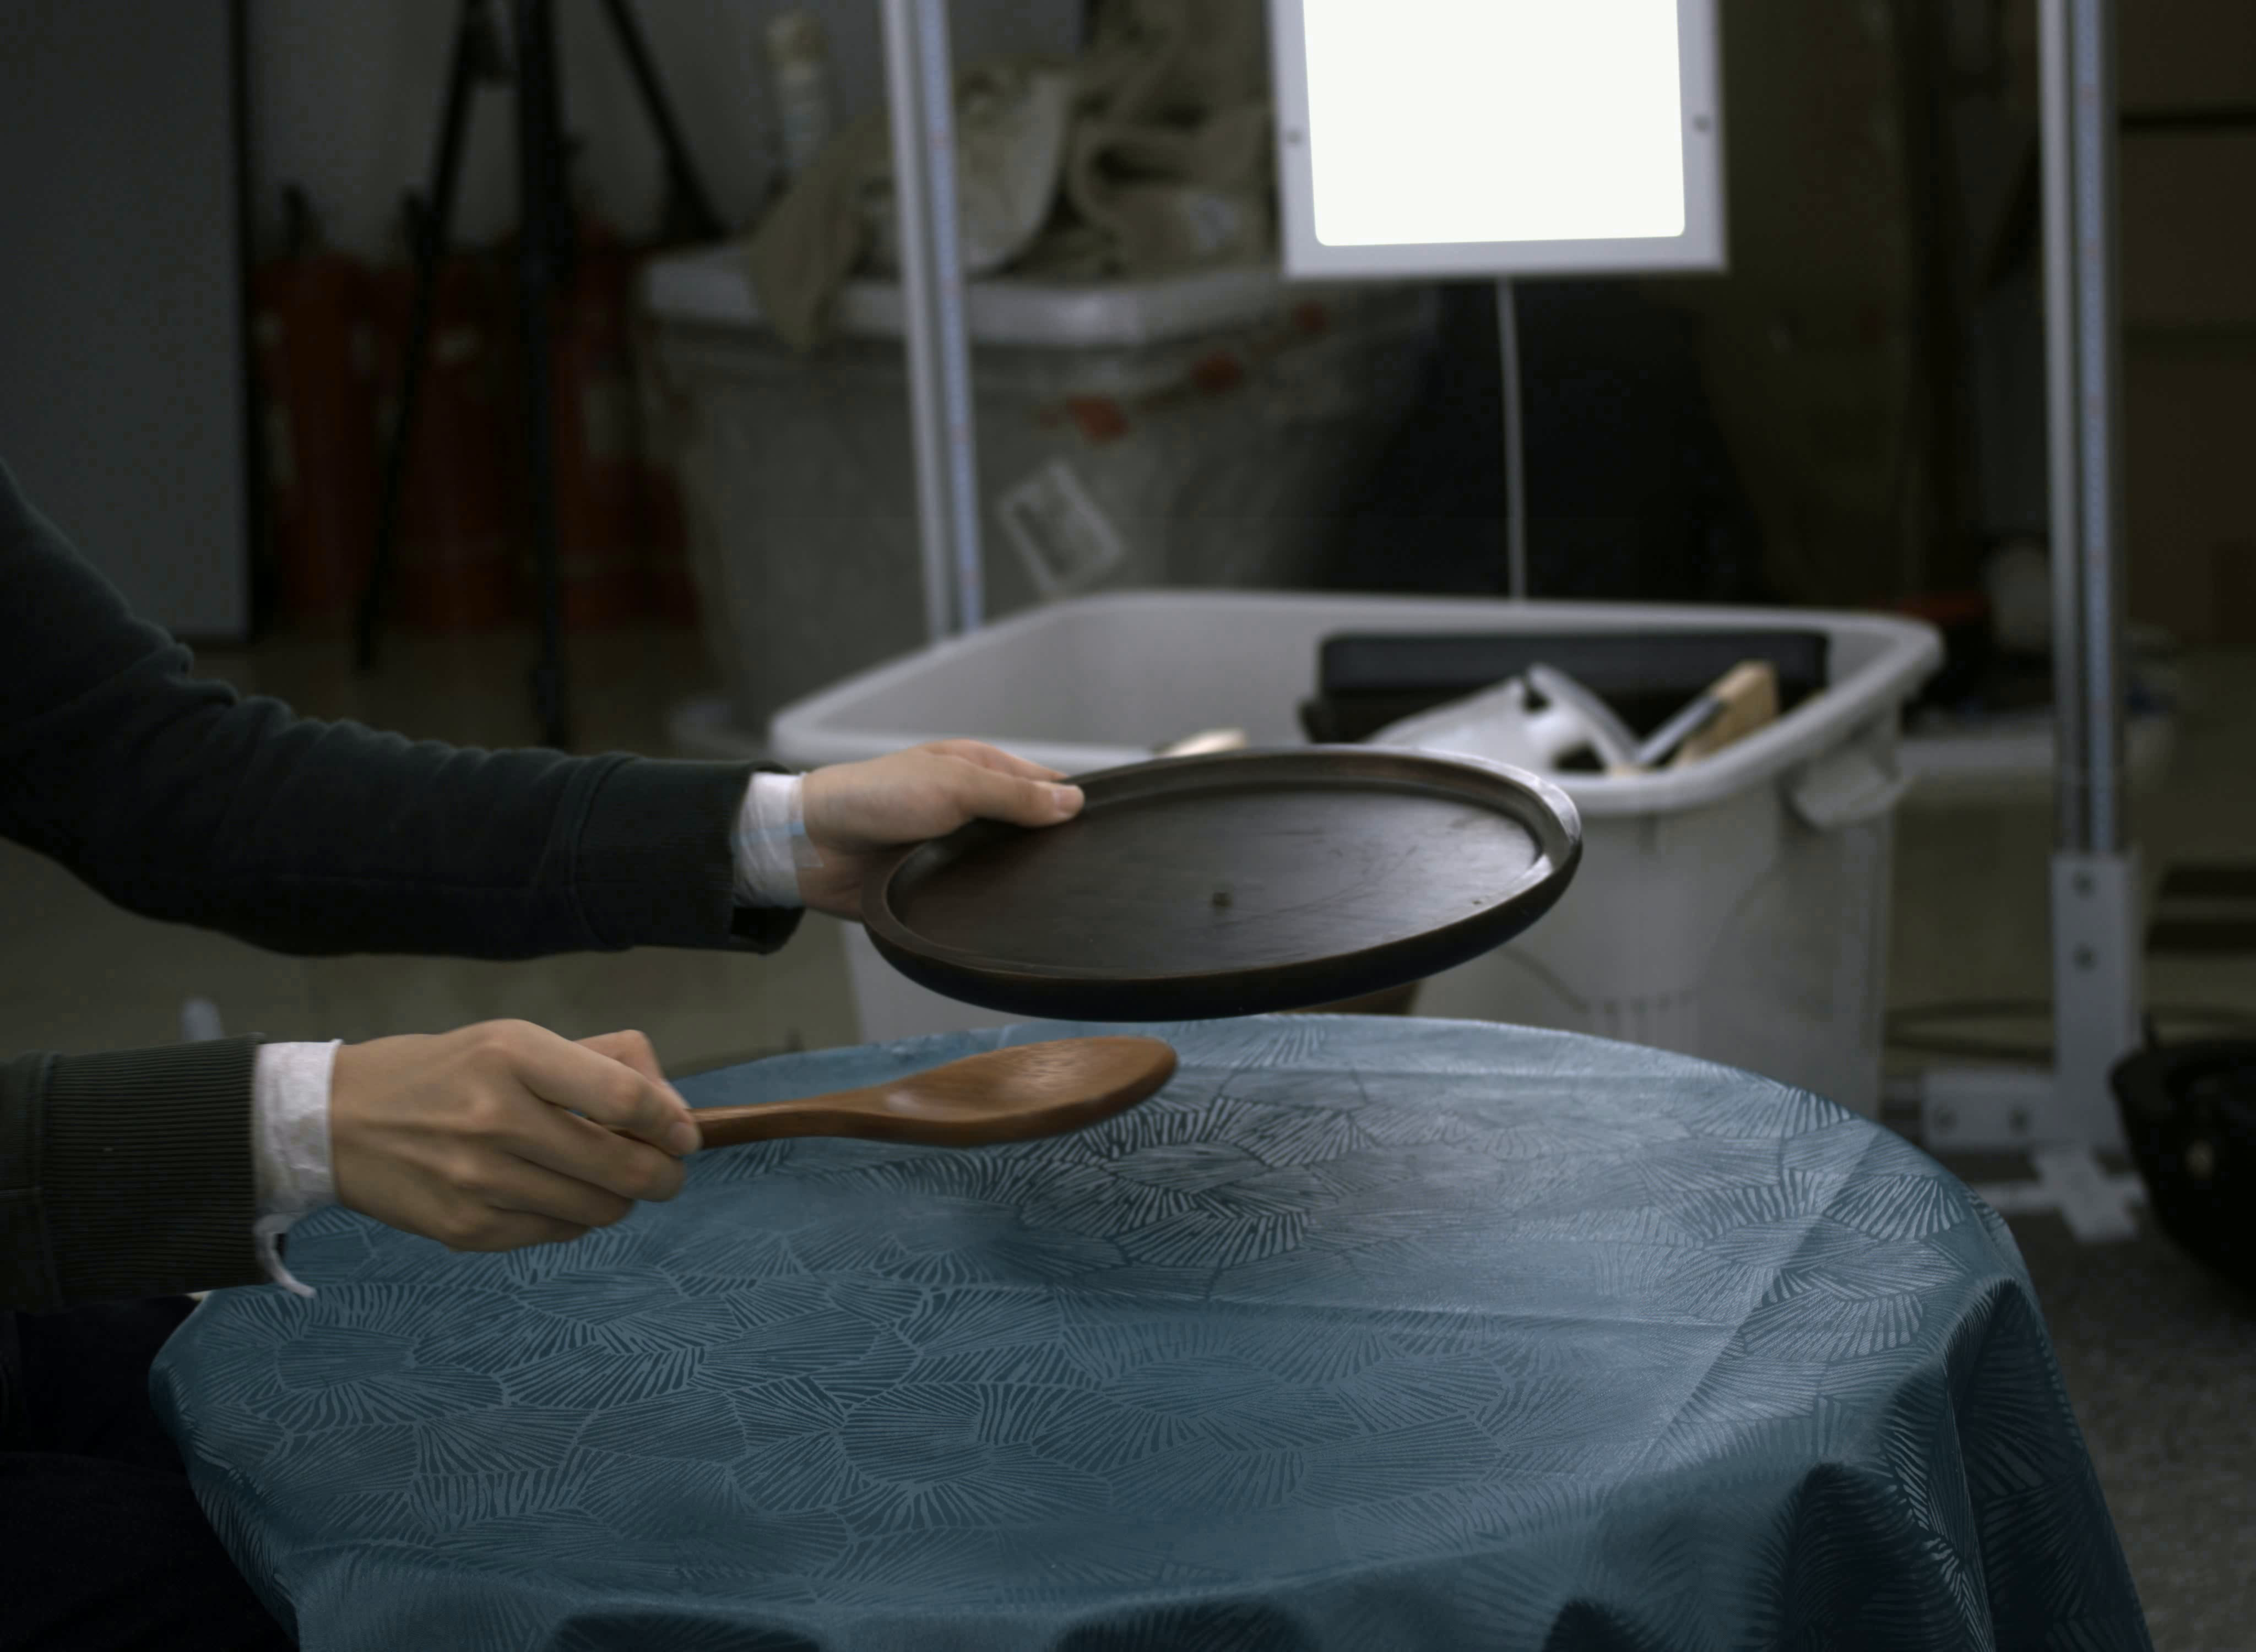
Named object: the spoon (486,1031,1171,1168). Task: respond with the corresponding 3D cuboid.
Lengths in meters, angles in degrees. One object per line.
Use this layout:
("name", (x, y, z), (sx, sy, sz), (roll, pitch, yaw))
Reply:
("spoon", (-0.089, 0.085, 1.629), (0.219, 0.017, 0.074), (-6, 13, 20))

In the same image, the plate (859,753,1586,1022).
("plate", (0.032, 0.019, 1.901), (0.254, 0.029, 0.254), (-6, 17, 1))
